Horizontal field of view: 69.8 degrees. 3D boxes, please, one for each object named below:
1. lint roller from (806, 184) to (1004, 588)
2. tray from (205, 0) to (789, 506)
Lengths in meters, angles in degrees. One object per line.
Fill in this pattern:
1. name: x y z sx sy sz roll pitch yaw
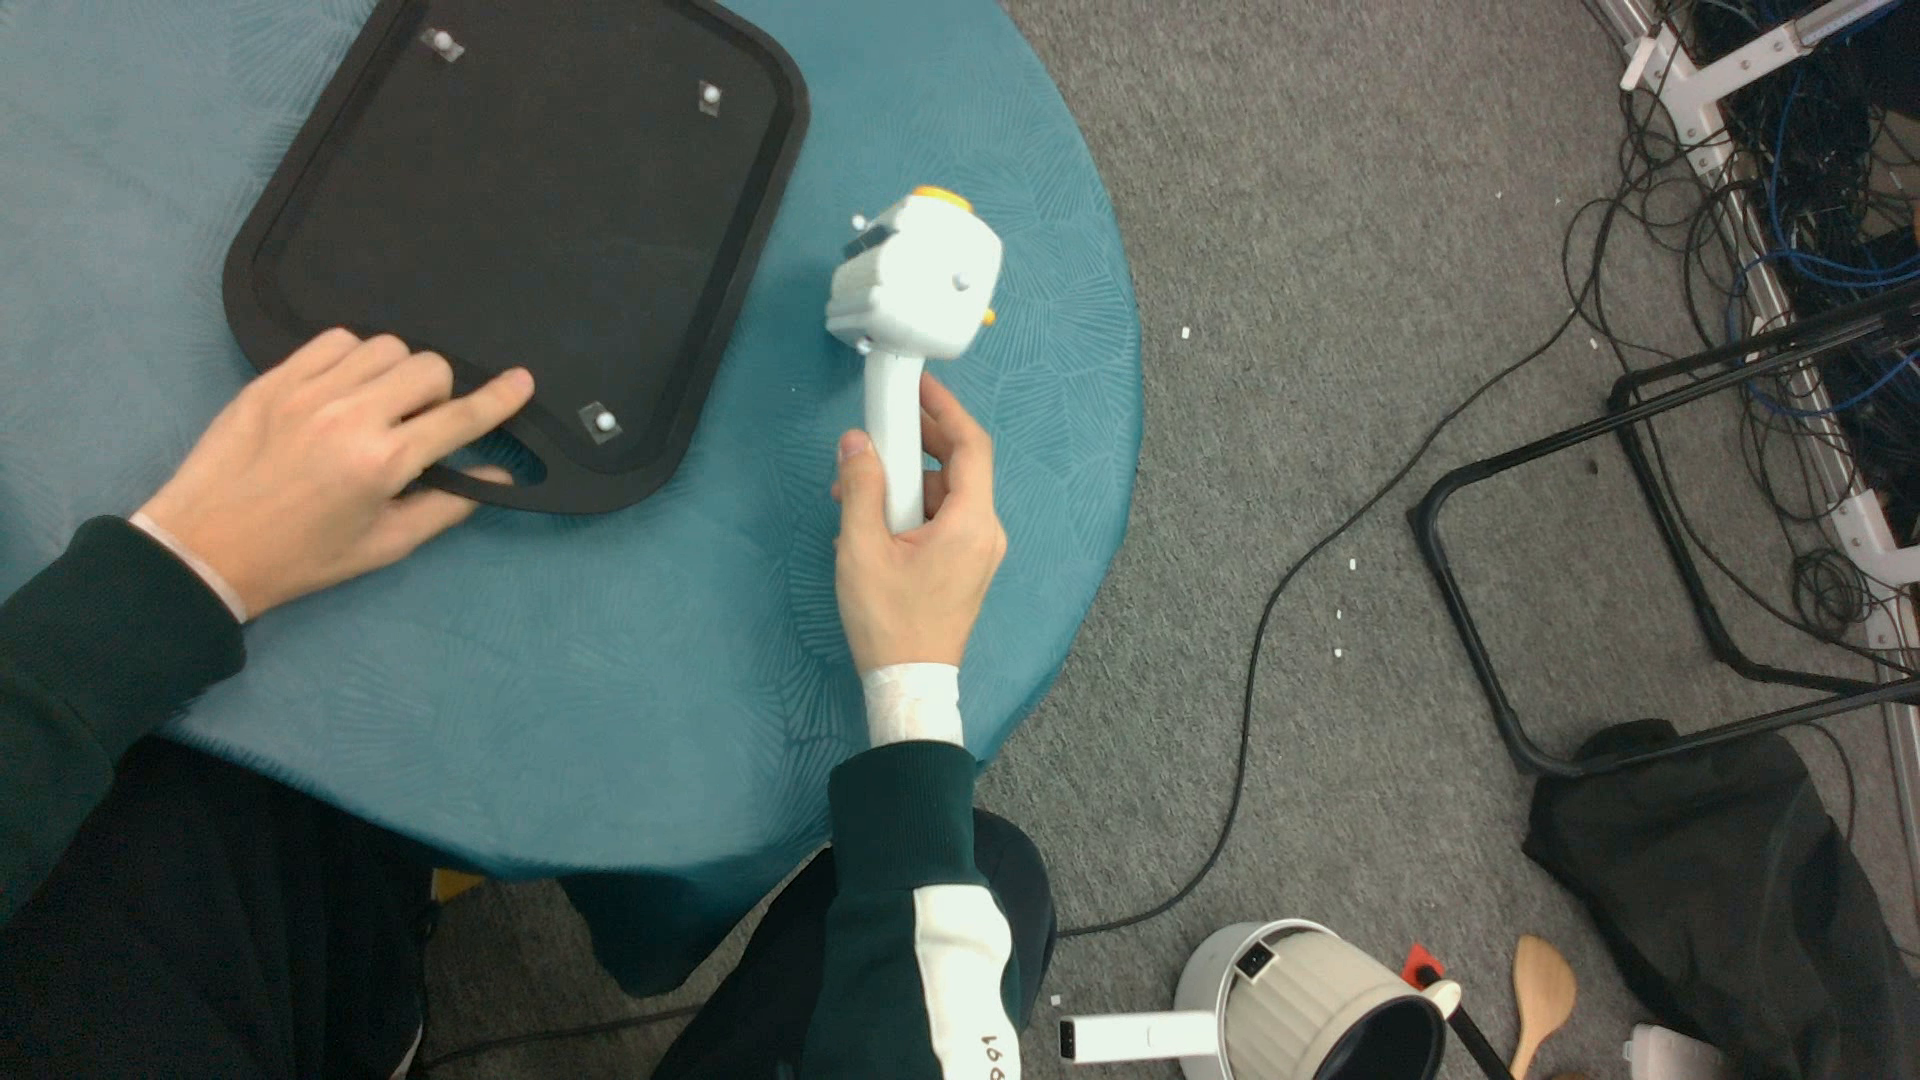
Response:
1. lint roller: -0.040 -0.072 0.662 0.074 0.193 0.192 10 99 -21
2. tray: -0.208 -0.172 0.670 0.211 0.010 0.327 25 61 -21
